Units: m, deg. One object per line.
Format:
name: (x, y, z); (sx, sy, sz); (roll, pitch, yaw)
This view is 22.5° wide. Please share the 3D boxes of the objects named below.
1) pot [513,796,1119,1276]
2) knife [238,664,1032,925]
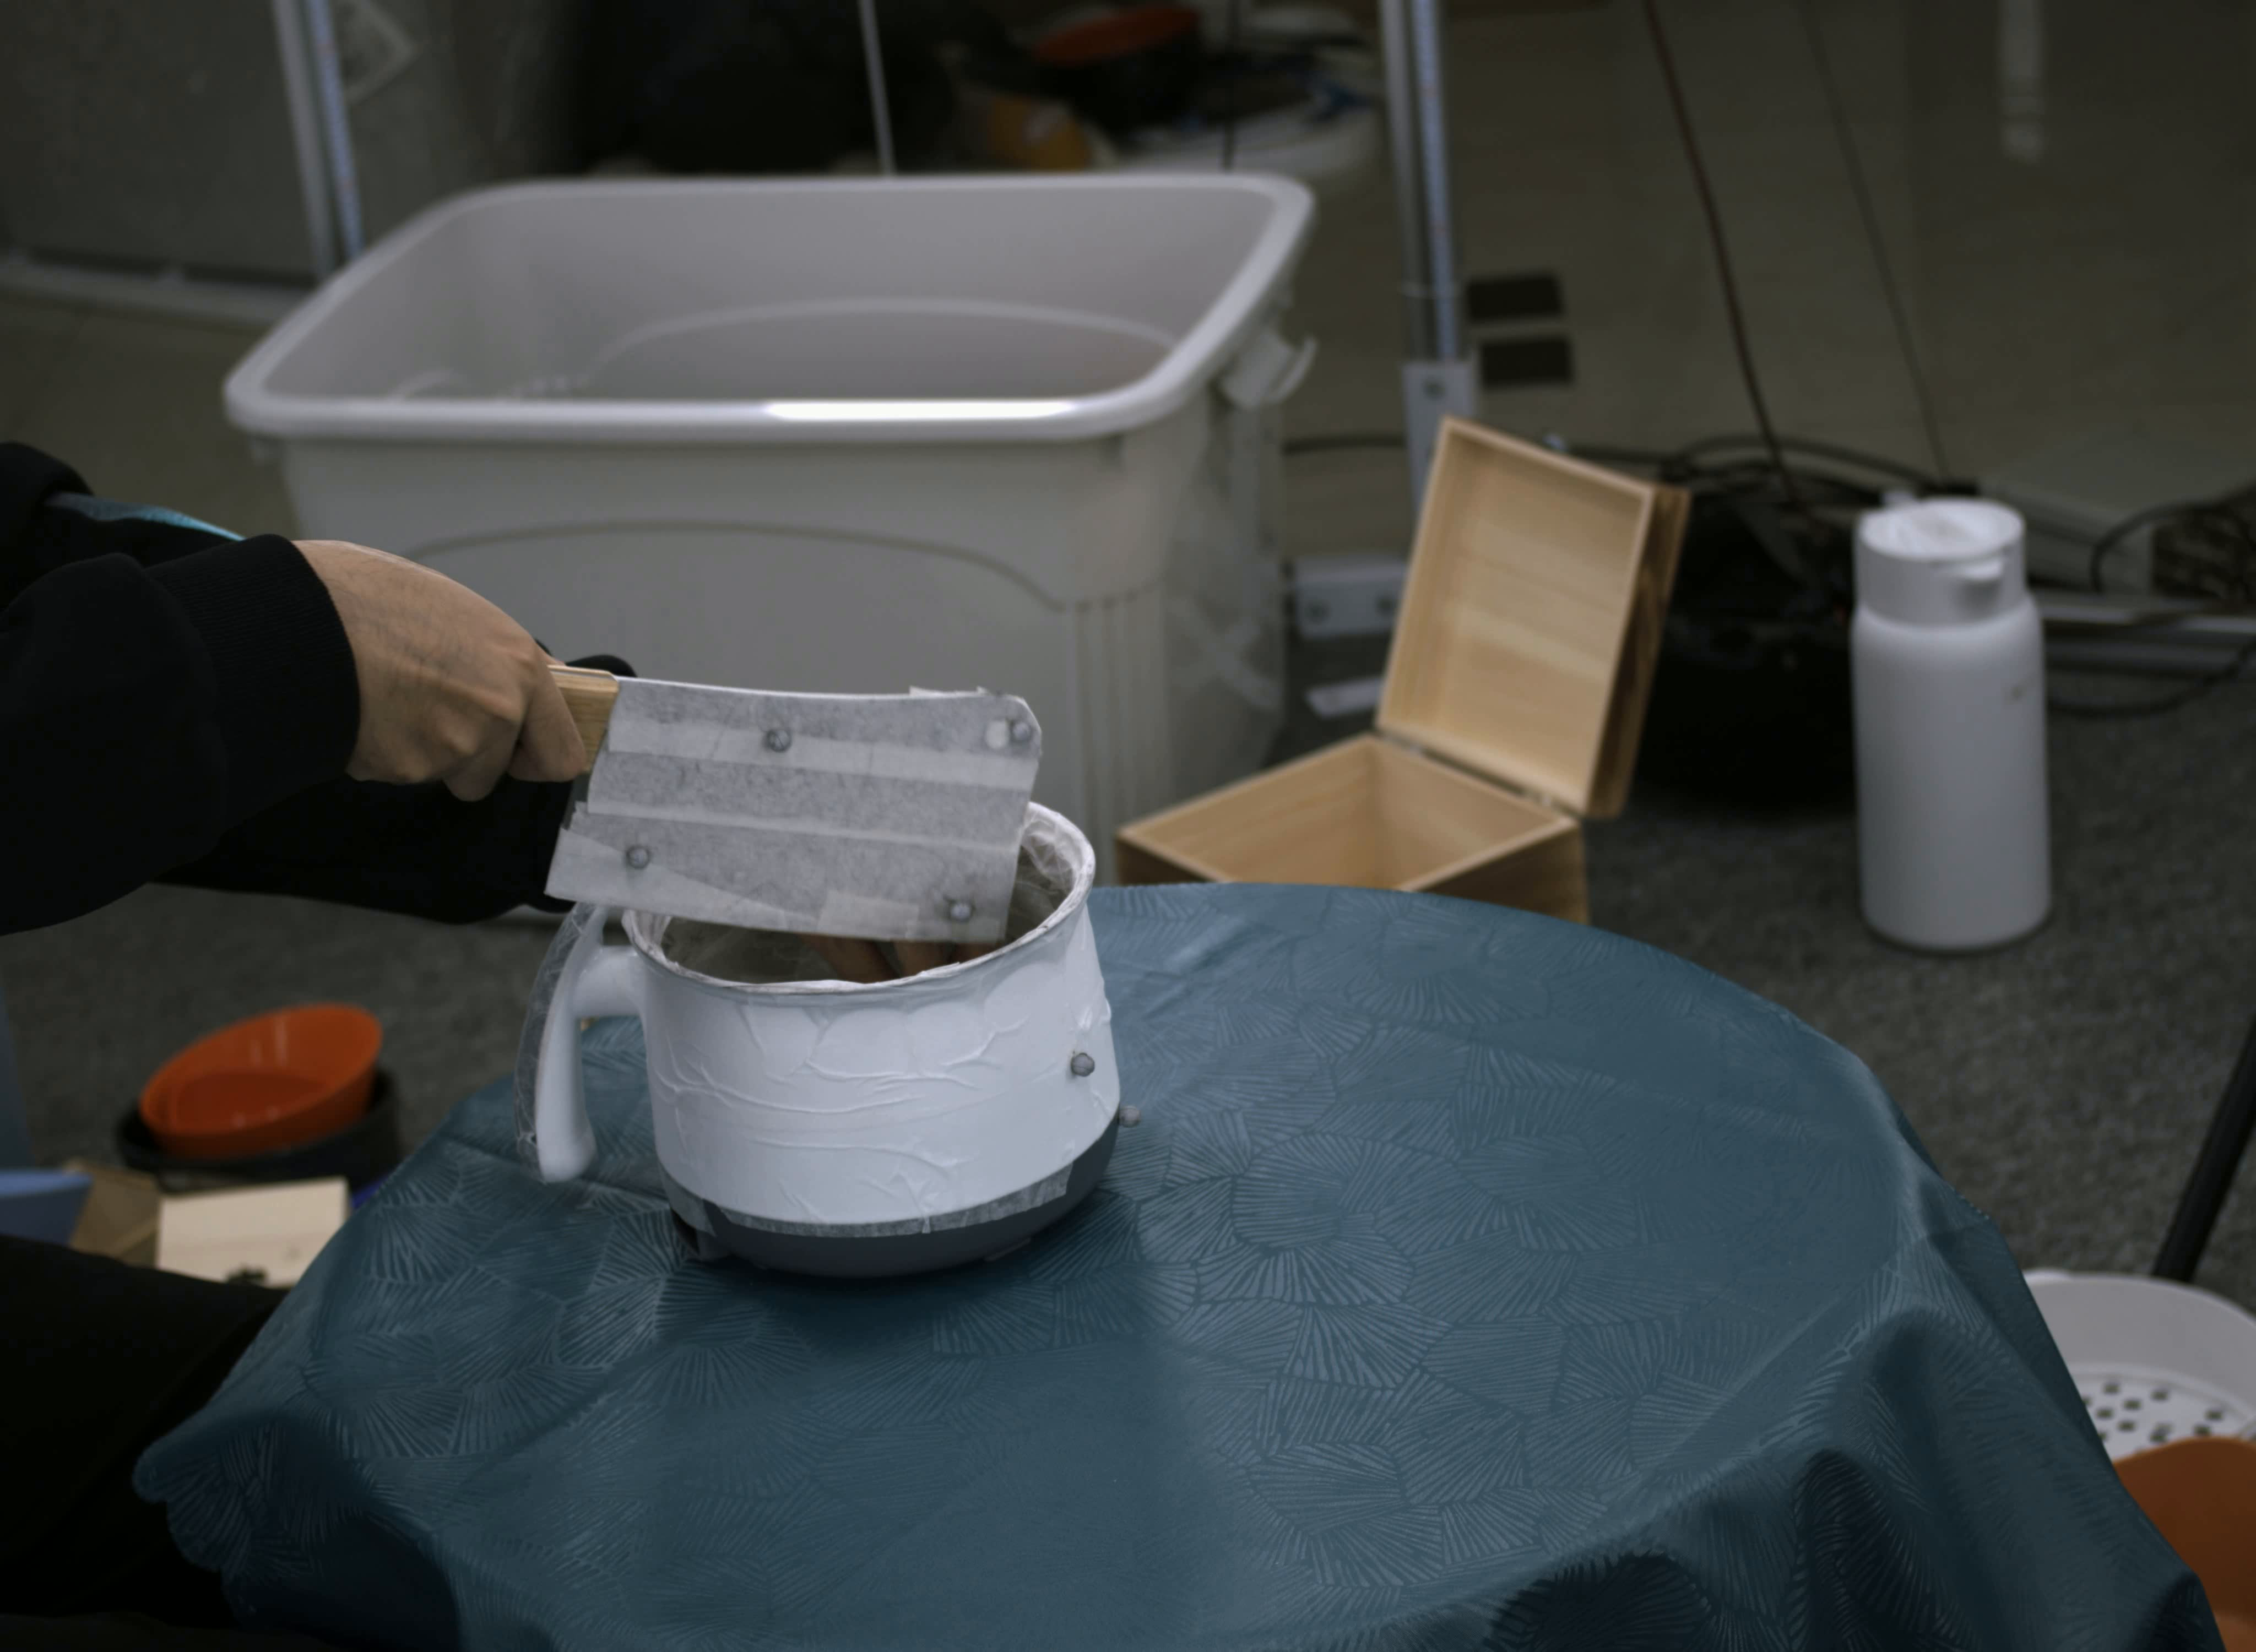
pot: (-0.121, 0.080, 2.137); (0.233, 0.139, 0.176); (-2, 25, 6)
knife: (-0.170, -0.022, 2.032); (0.316, 0.115, 0.021); (9, 18, -29)
